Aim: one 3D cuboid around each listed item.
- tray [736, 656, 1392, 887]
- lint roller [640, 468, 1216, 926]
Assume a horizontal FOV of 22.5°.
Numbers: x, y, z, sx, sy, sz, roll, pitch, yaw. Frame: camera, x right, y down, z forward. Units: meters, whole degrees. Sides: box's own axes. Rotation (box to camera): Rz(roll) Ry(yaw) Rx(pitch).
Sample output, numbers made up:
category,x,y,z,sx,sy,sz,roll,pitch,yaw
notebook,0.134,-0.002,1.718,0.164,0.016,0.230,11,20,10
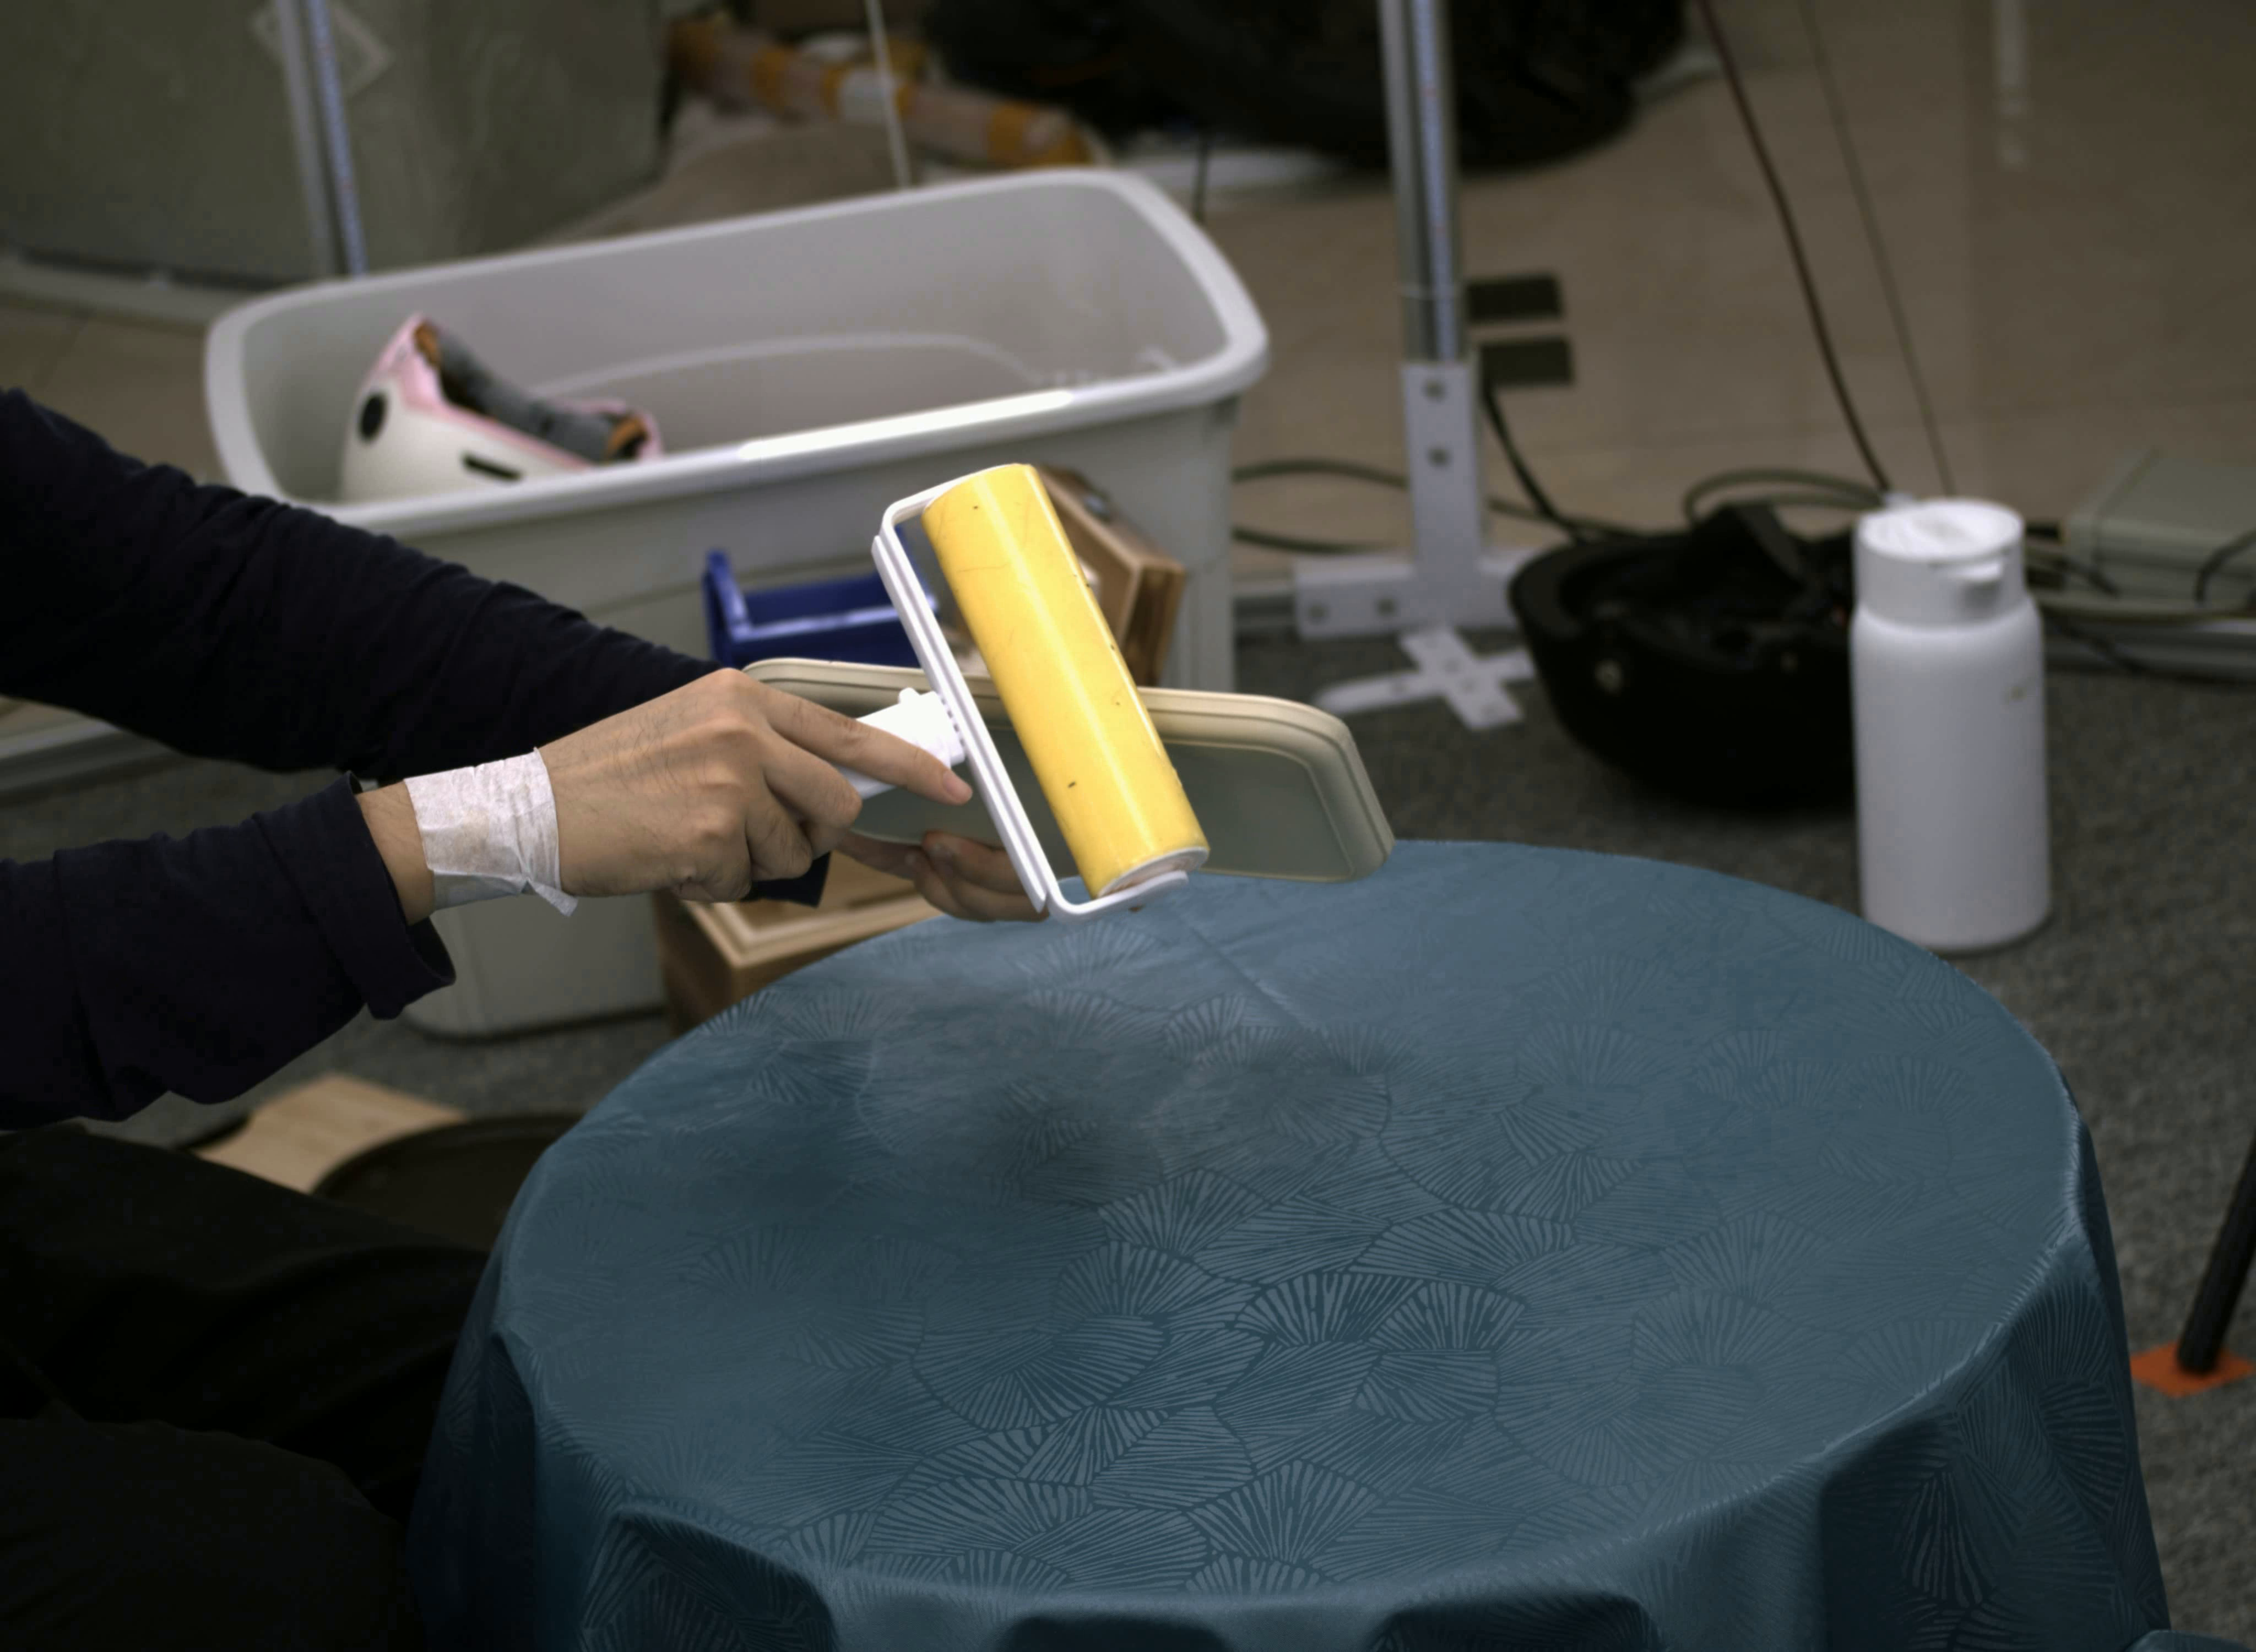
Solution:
category,x,y,z,sx,sy,sz,roll,pitch,yaw
tray,-0.024,-0.018,2.172,0.239,0.173,0.017,5,70,14
lint roller,-0.085,-0.028,2.039,0.191,0.173,0.052,-20,-14,-26
